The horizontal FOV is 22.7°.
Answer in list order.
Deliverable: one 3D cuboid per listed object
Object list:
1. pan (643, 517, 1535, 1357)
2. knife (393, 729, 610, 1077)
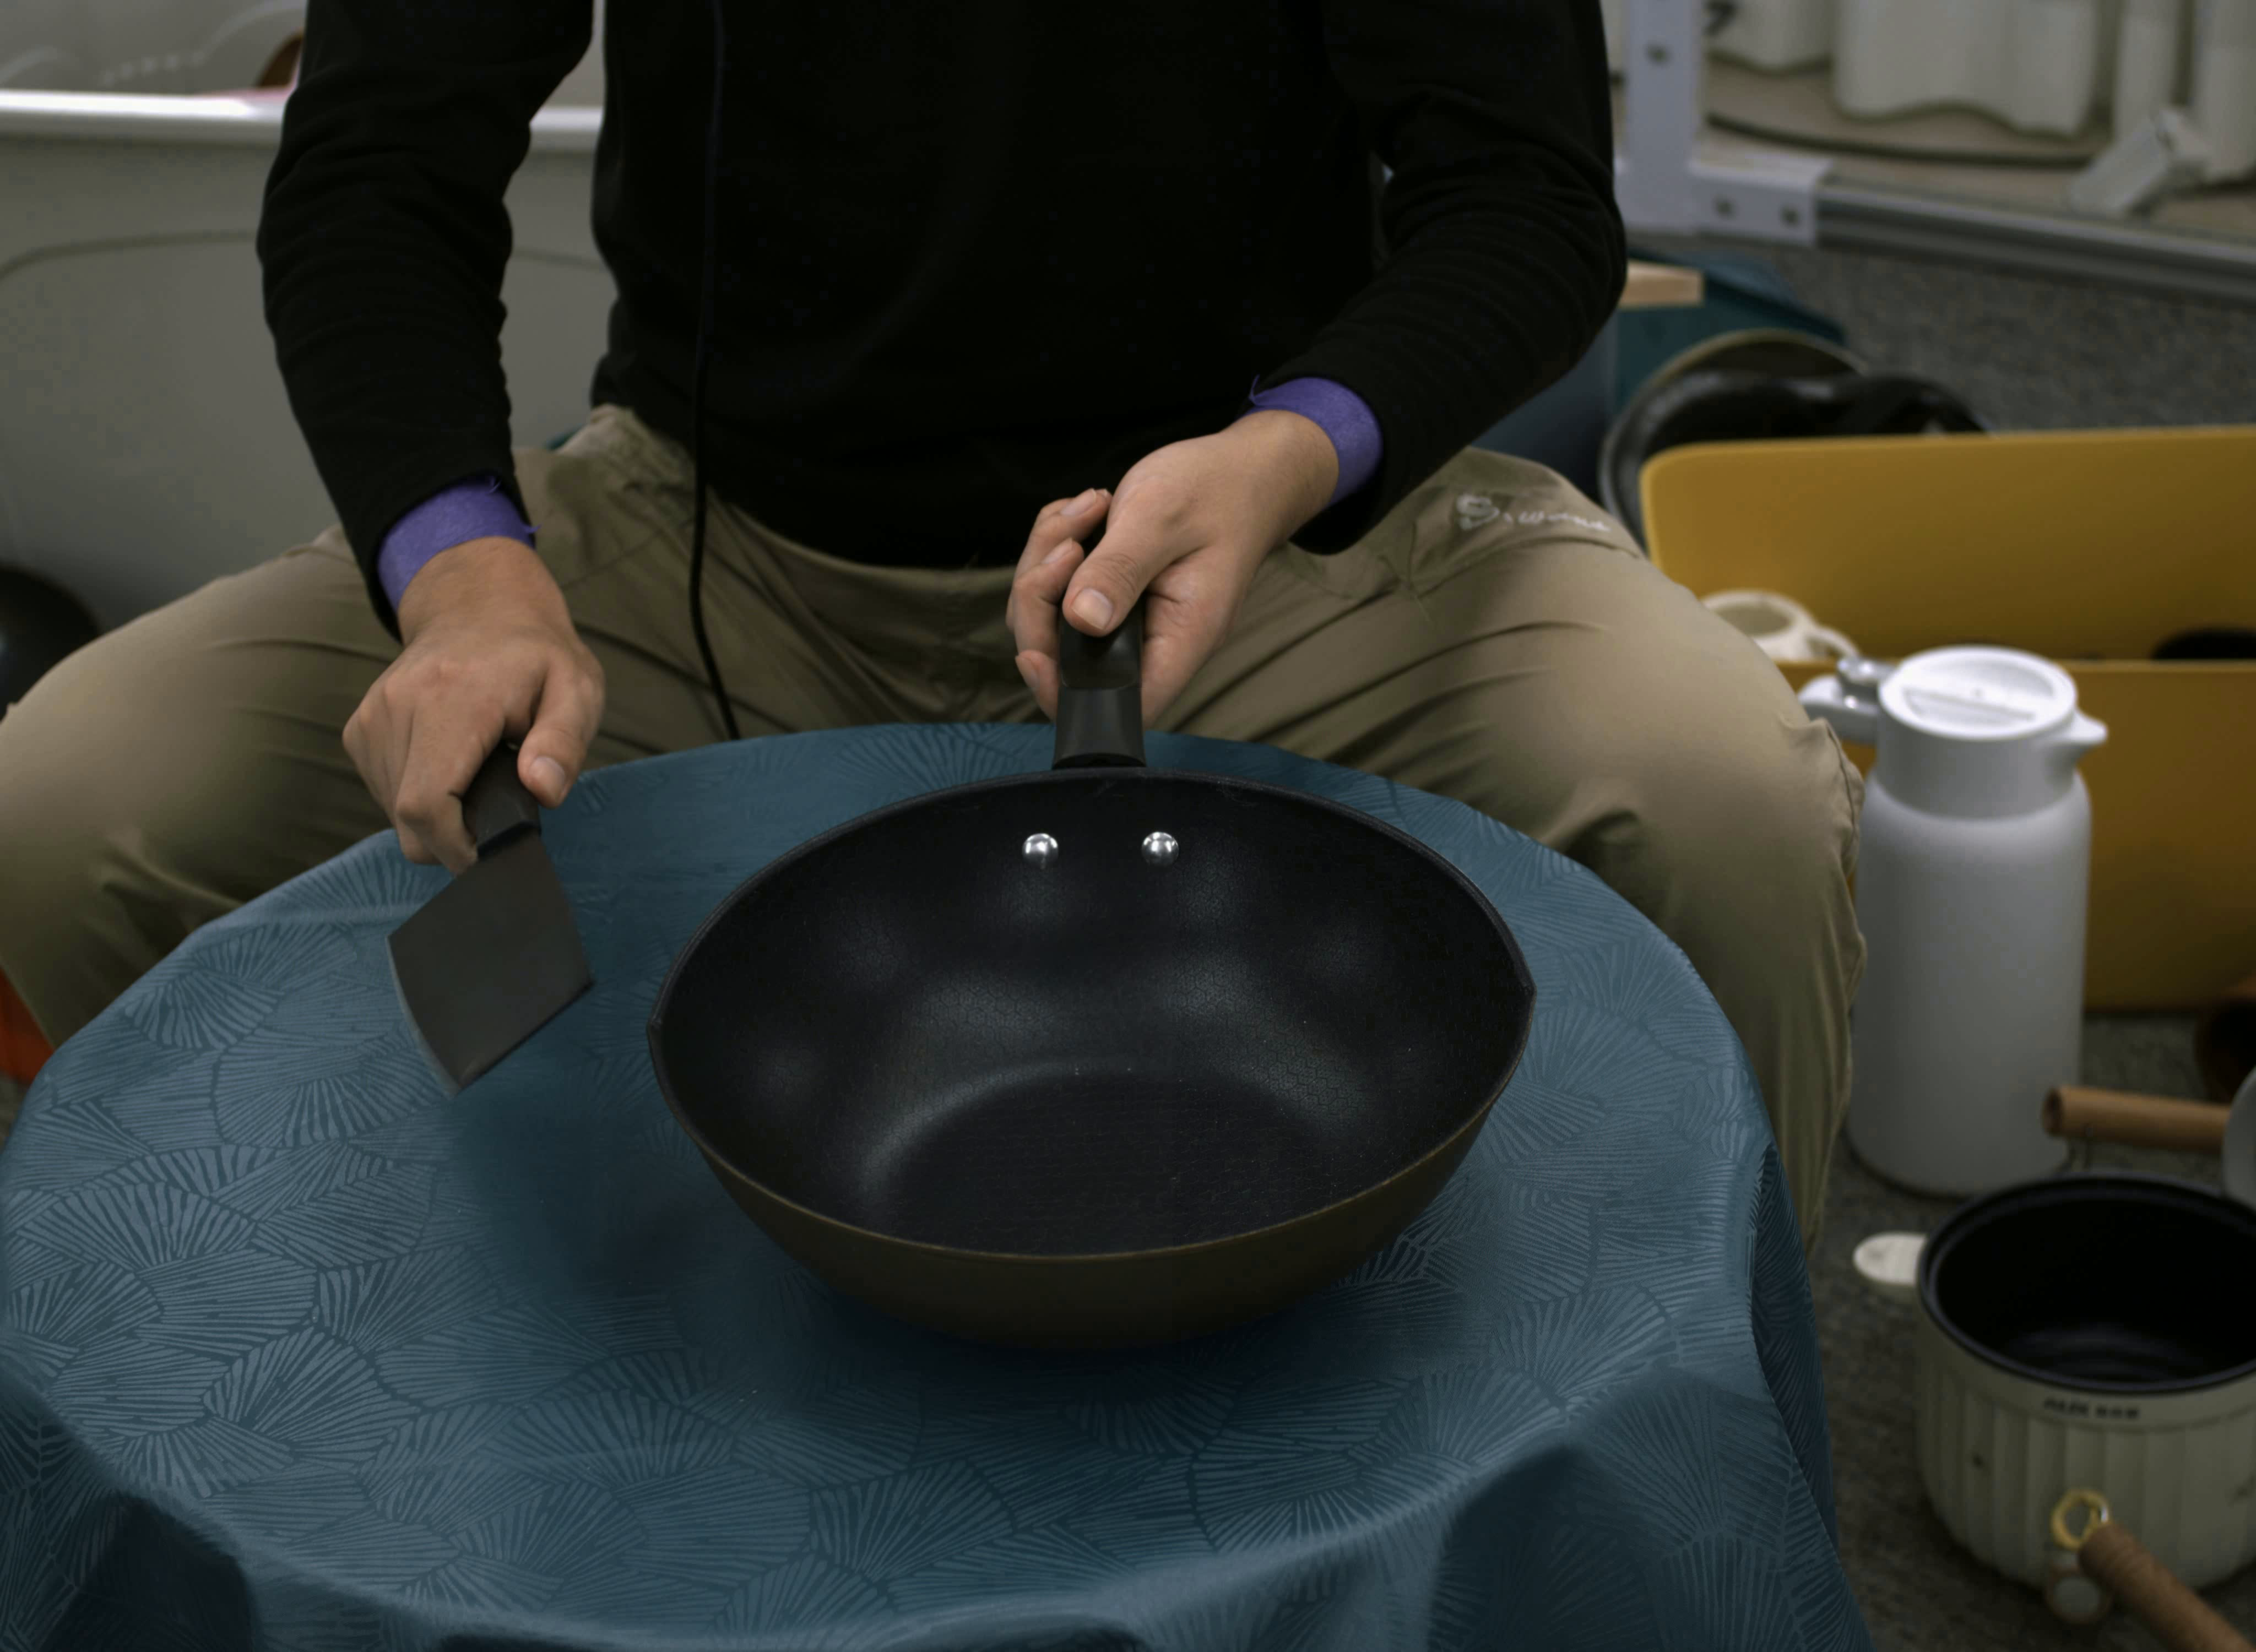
[{"bbox_3d":[-0.010,0.040,1.902,0.287,0.086,0.471,-1,32,2],"label":"pan"},{"bbox_3d":[-0.217,0.022,1.898,0.081,0.021,0.304,-39,20,3],"label":"knife"}]
